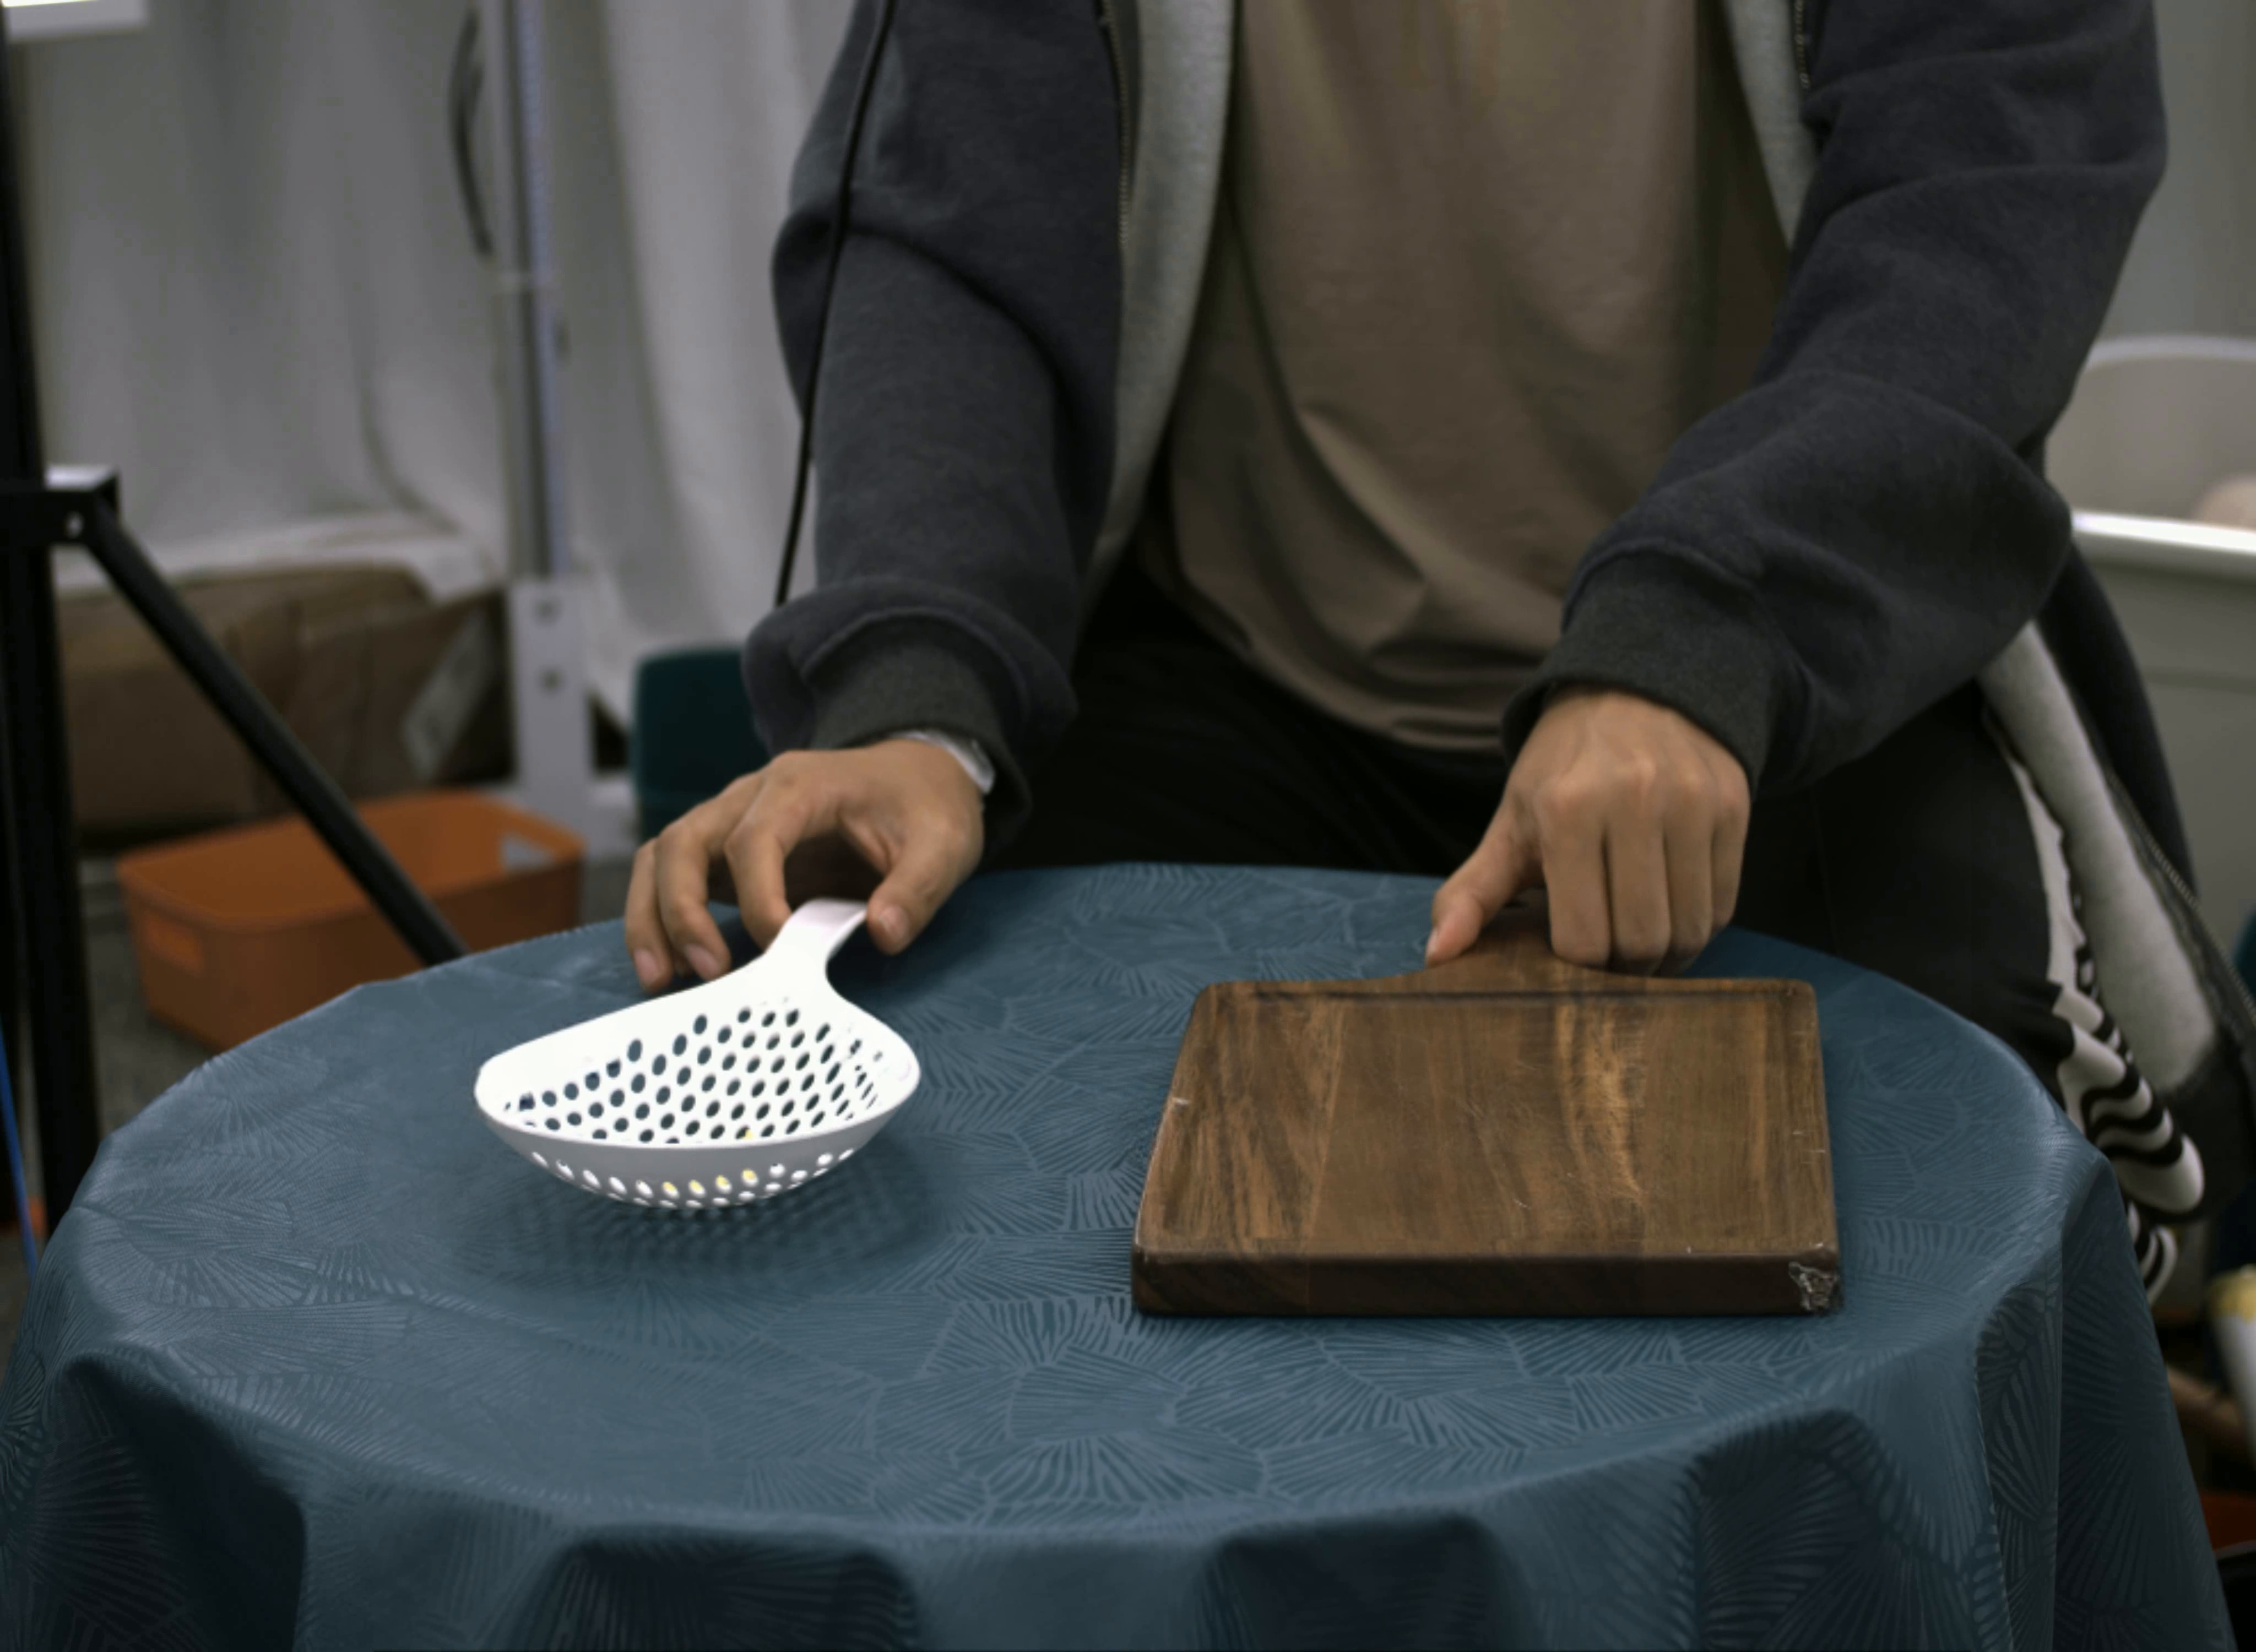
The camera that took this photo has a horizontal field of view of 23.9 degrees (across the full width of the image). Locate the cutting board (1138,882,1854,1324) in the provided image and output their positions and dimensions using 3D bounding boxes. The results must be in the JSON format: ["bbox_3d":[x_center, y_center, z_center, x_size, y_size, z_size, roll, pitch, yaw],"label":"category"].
[{"bbox_3d":[0.113,0.078,1.609,0.201,0.023,0.352,0,16,6],"label":"cutting board"}]

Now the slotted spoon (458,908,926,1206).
[{"bbox_3d":[-0.113,0.059,1.675,0.137,0.050,0.347,-1,16,8],"label":"slotted spoon"}]
